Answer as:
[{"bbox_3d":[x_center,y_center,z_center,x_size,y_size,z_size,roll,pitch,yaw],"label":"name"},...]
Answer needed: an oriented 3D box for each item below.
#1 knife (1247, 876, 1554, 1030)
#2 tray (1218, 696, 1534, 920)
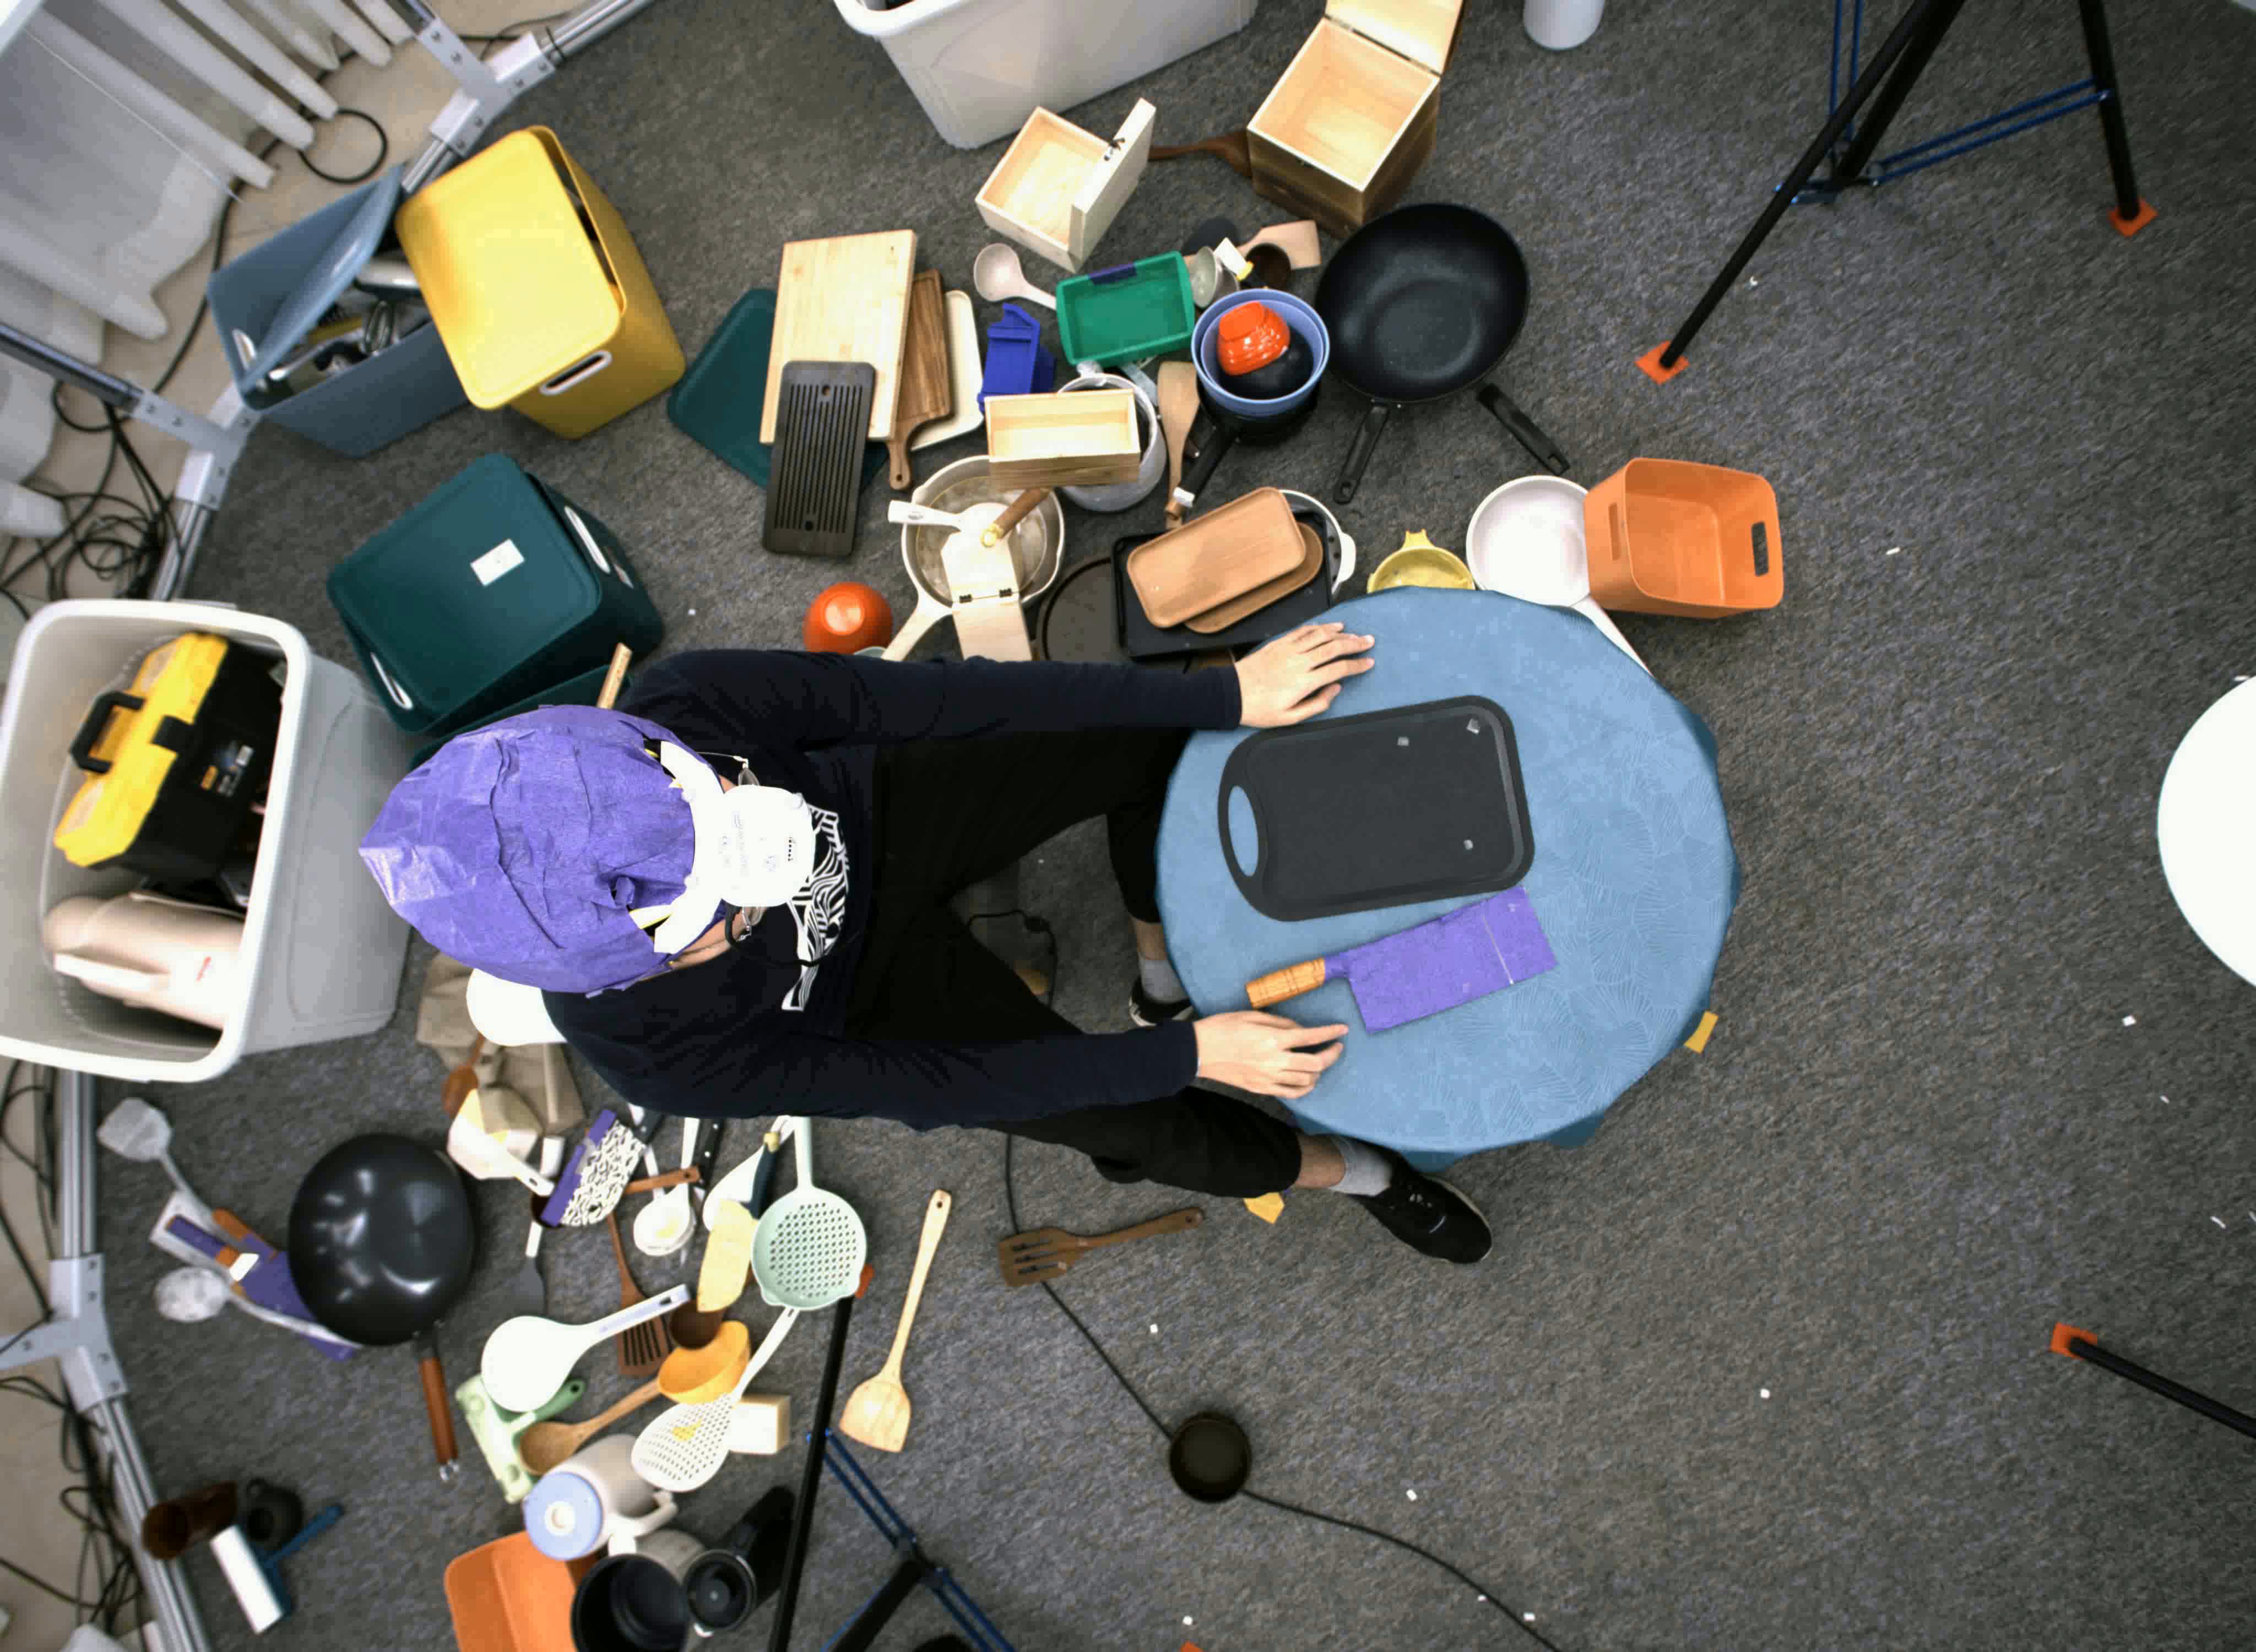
[{"bbox_3d":[0.284,0.154,1.439,0.317,0.032,0.103,-22,83,8],"label":"knife"},{"bbox_3d":[0.257,-0.018,1.464,0.327,0.010,0.210,-9,85,10],"label":"tray"}]
